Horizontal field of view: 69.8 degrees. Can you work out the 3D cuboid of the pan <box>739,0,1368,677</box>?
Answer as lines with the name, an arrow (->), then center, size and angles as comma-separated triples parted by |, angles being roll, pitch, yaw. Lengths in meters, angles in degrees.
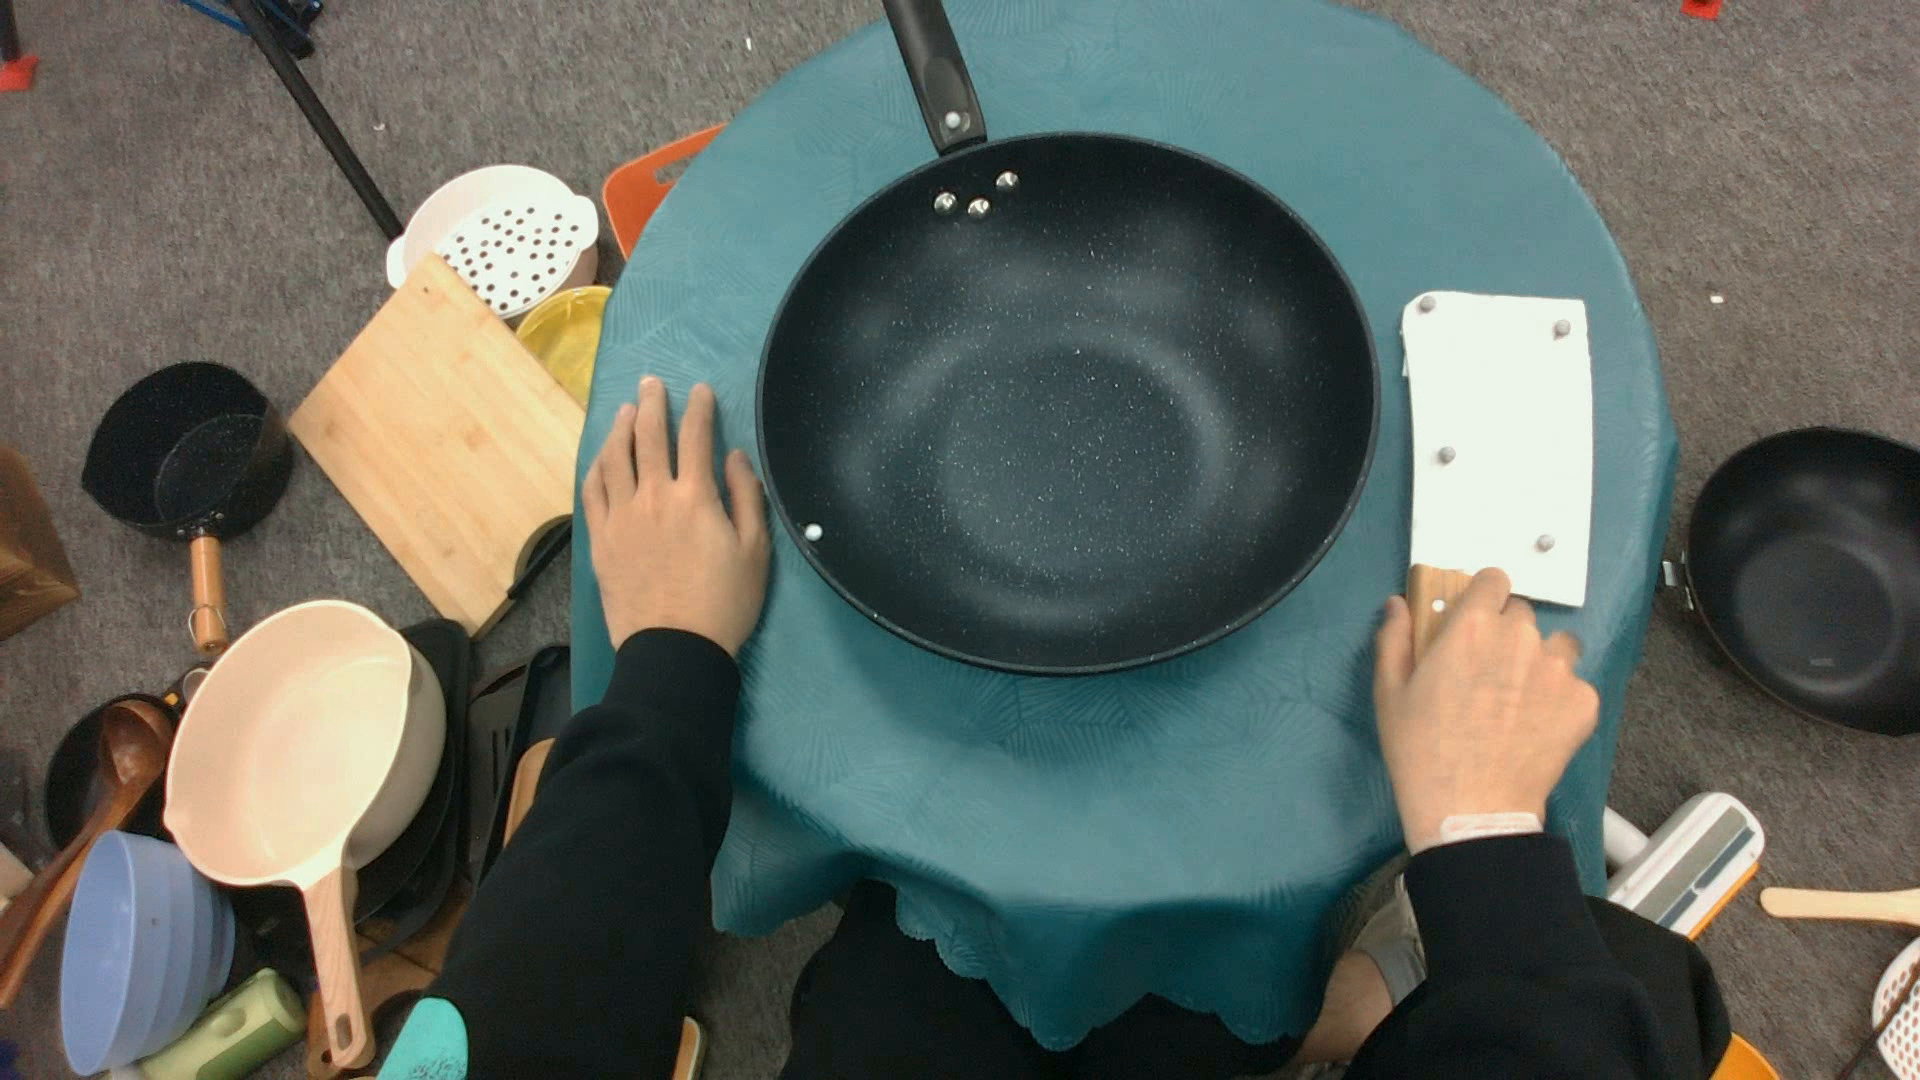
pan -> 0.019, -0.141, 0.740 | 0.310, 0.111, 0.478 | -18, 66, -6

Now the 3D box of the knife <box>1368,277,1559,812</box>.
knife -> 0.253, -0.012, 0.712 | 0.114, 0.021, 0.316 | 13, 66, 5
